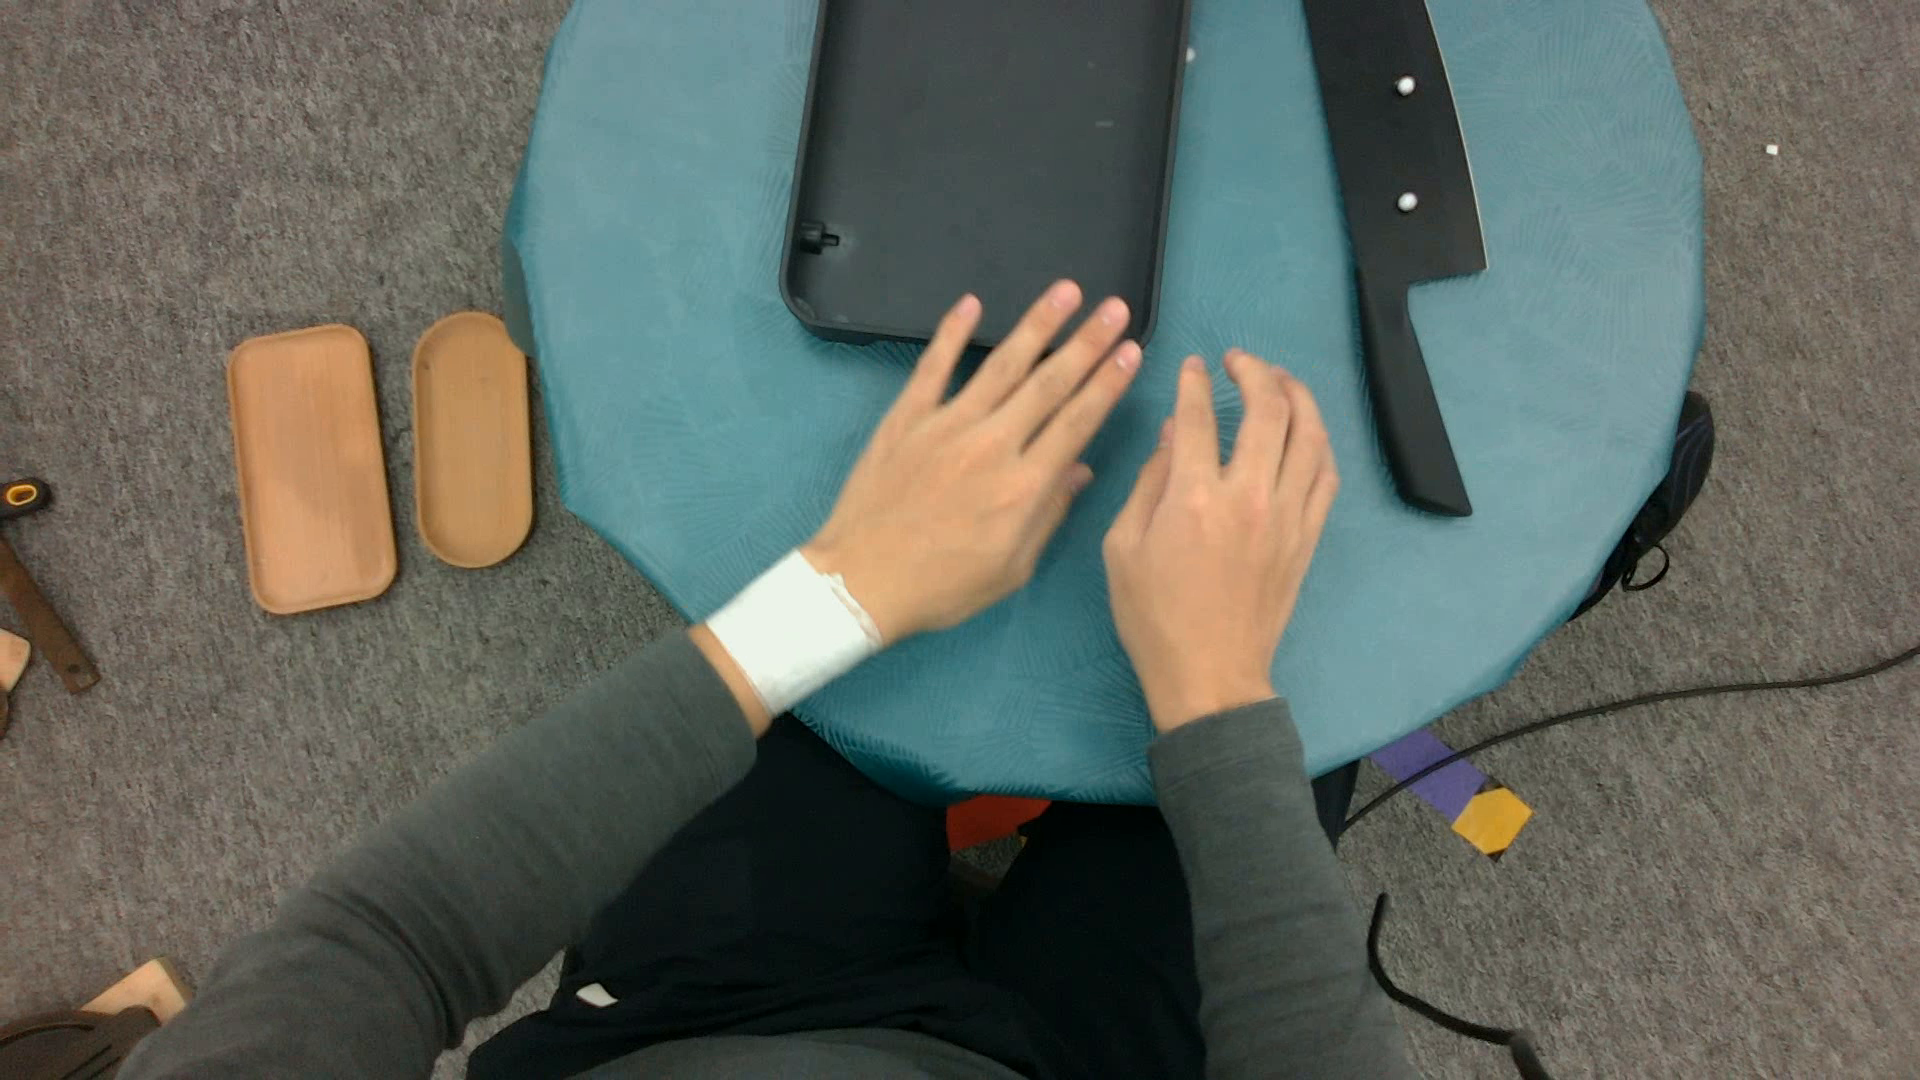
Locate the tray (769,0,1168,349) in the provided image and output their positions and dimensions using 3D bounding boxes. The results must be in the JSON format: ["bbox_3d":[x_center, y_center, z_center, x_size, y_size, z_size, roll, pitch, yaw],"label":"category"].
[{"bbox_3d":[0.011,-0.257,0.693,0.184,0.037,0.318,5,82,0],"label":"tray"}]

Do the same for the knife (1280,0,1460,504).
[{"bbox_3d":[0.213,-0.166,0.696,0.081,0.021,0.302,-5,81,-2],"label":"knife"}]
